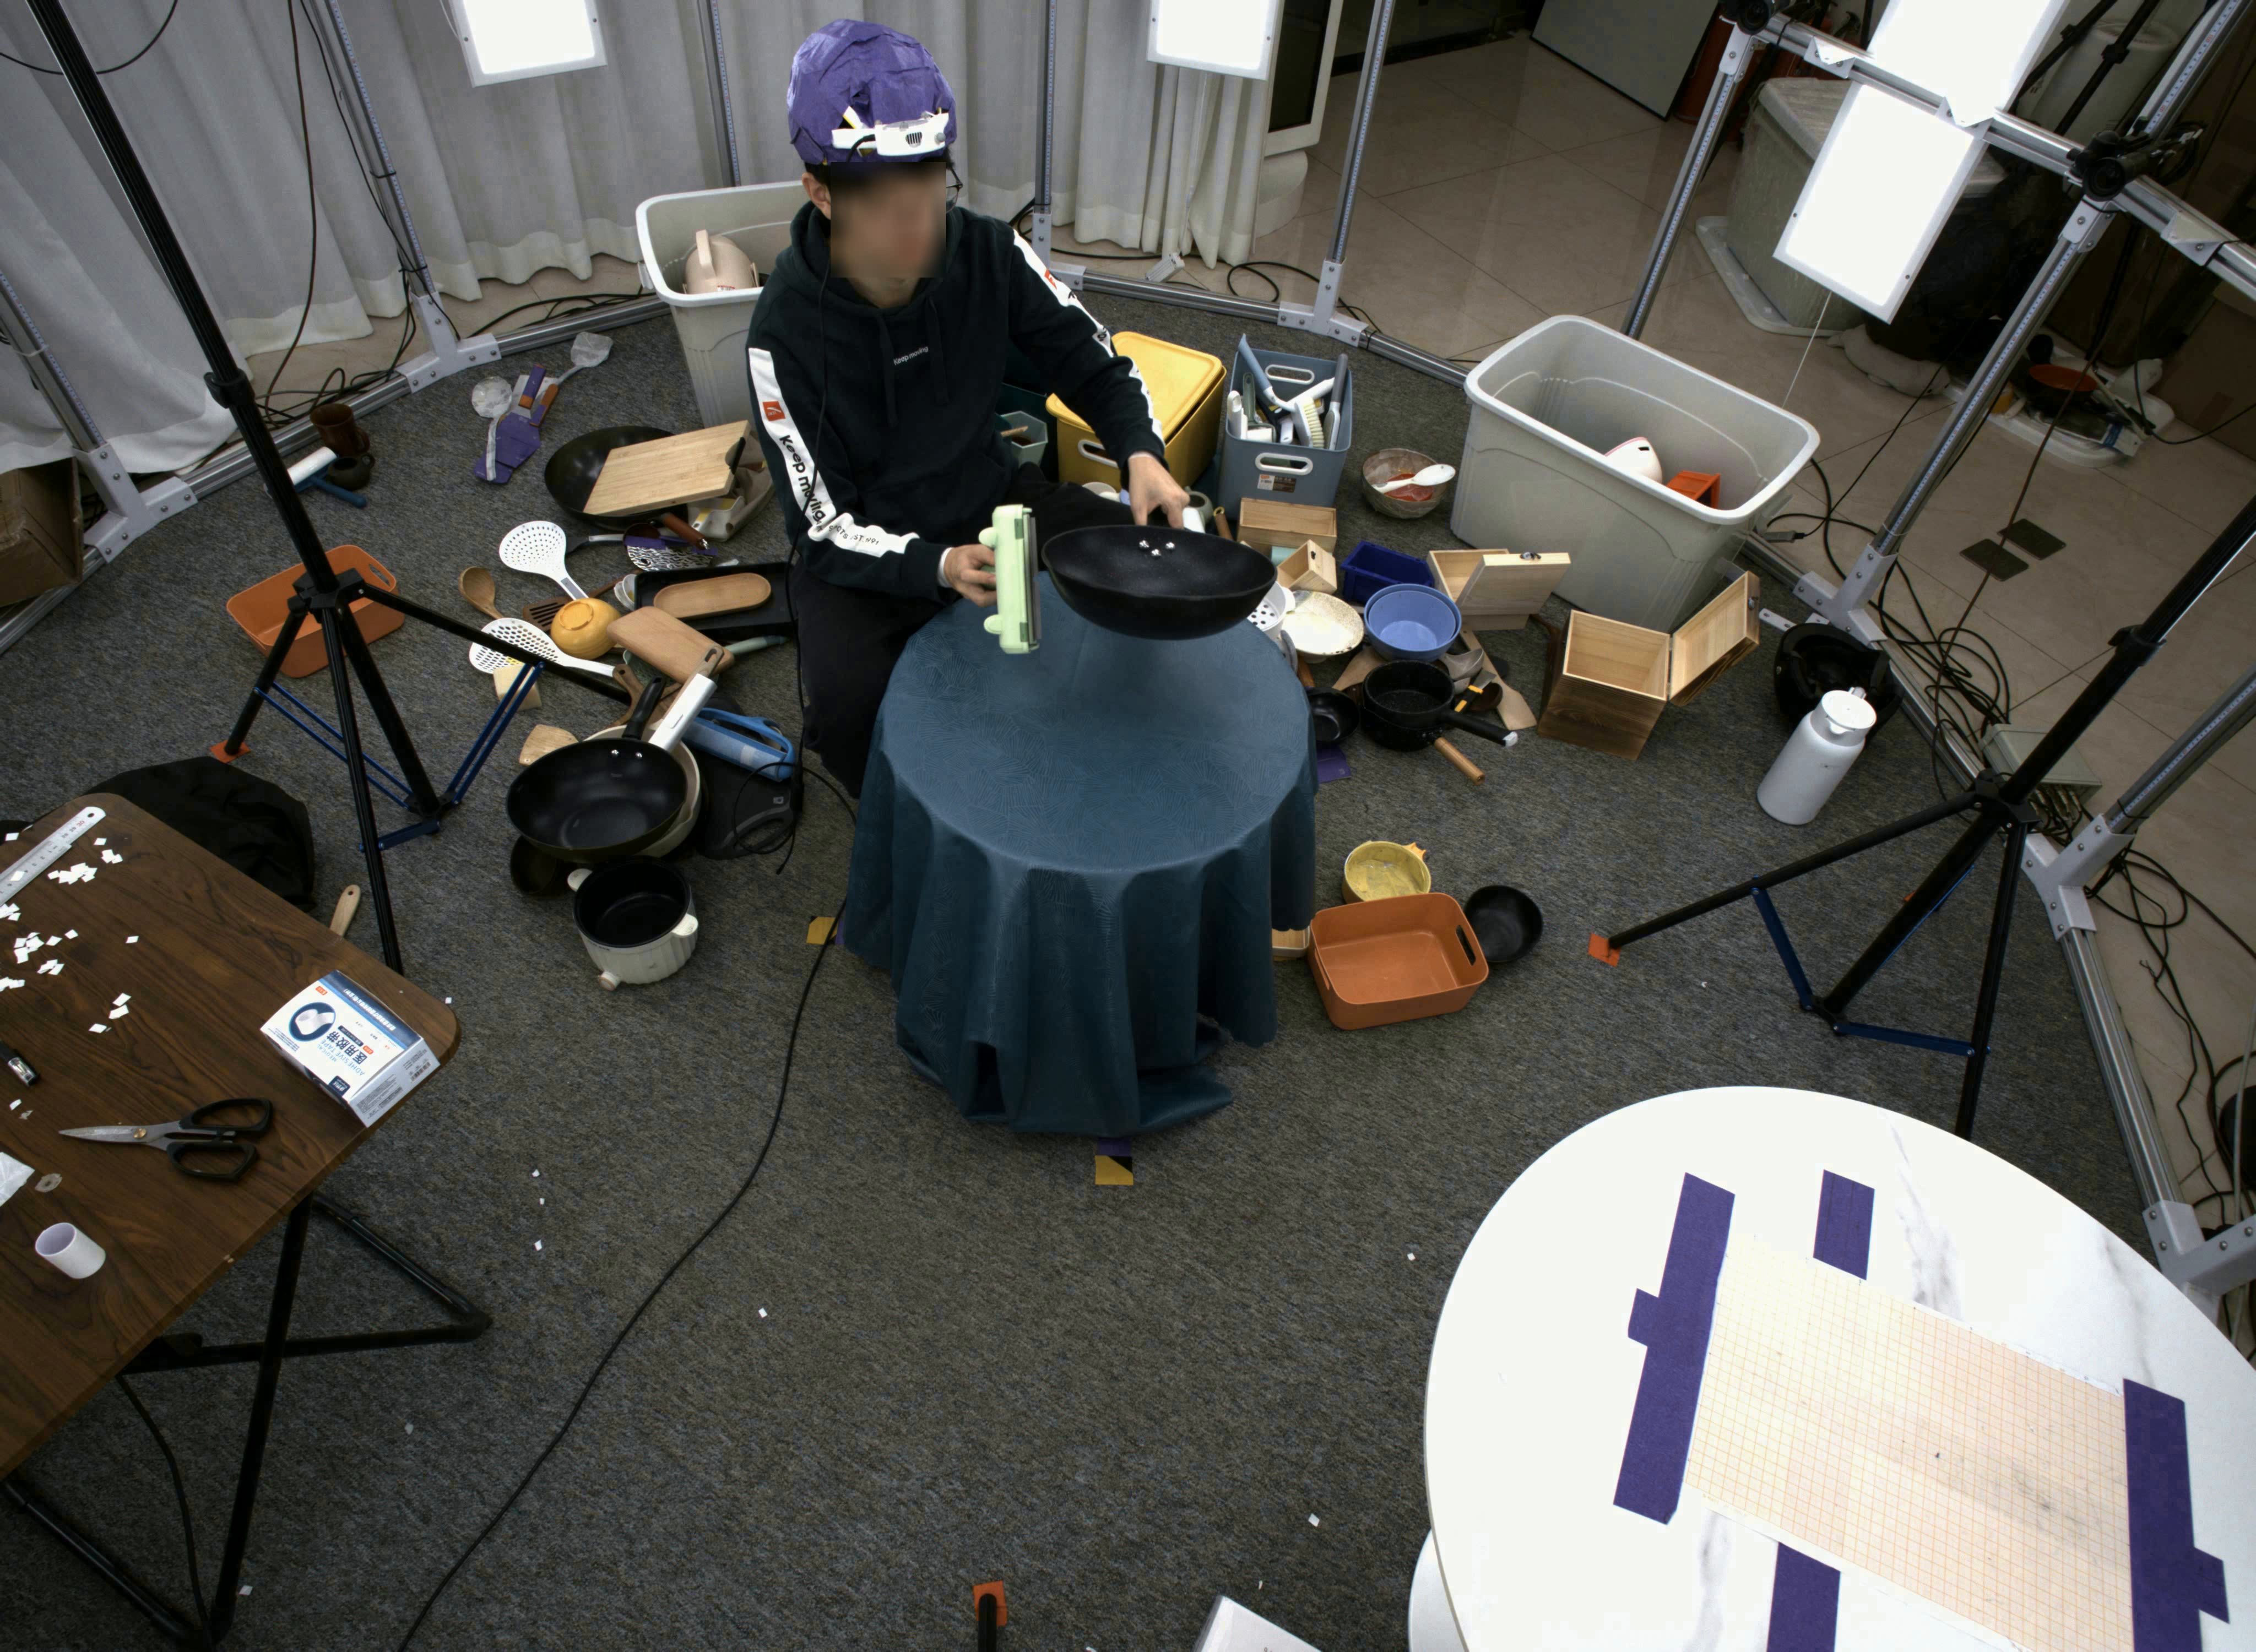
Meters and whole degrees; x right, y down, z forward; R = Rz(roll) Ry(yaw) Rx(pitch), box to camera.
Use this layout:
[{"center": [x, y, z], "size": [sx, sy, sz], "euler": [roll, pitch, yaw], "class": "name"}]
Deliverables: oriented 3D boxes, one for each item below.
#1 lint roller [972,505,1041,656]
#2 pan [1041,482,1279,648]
[{"center": [-0.190, -0.339, 1.778], "size": [0.082, 0.196, 0.185], "euler": [-11, 16, -34], "class": "lint roller"}, {"center": [0.041, -0.356, 1.757], "size": [0.310, 0.109, 0.486], "euler": [5, 29, -2], "class": "pan"}]
